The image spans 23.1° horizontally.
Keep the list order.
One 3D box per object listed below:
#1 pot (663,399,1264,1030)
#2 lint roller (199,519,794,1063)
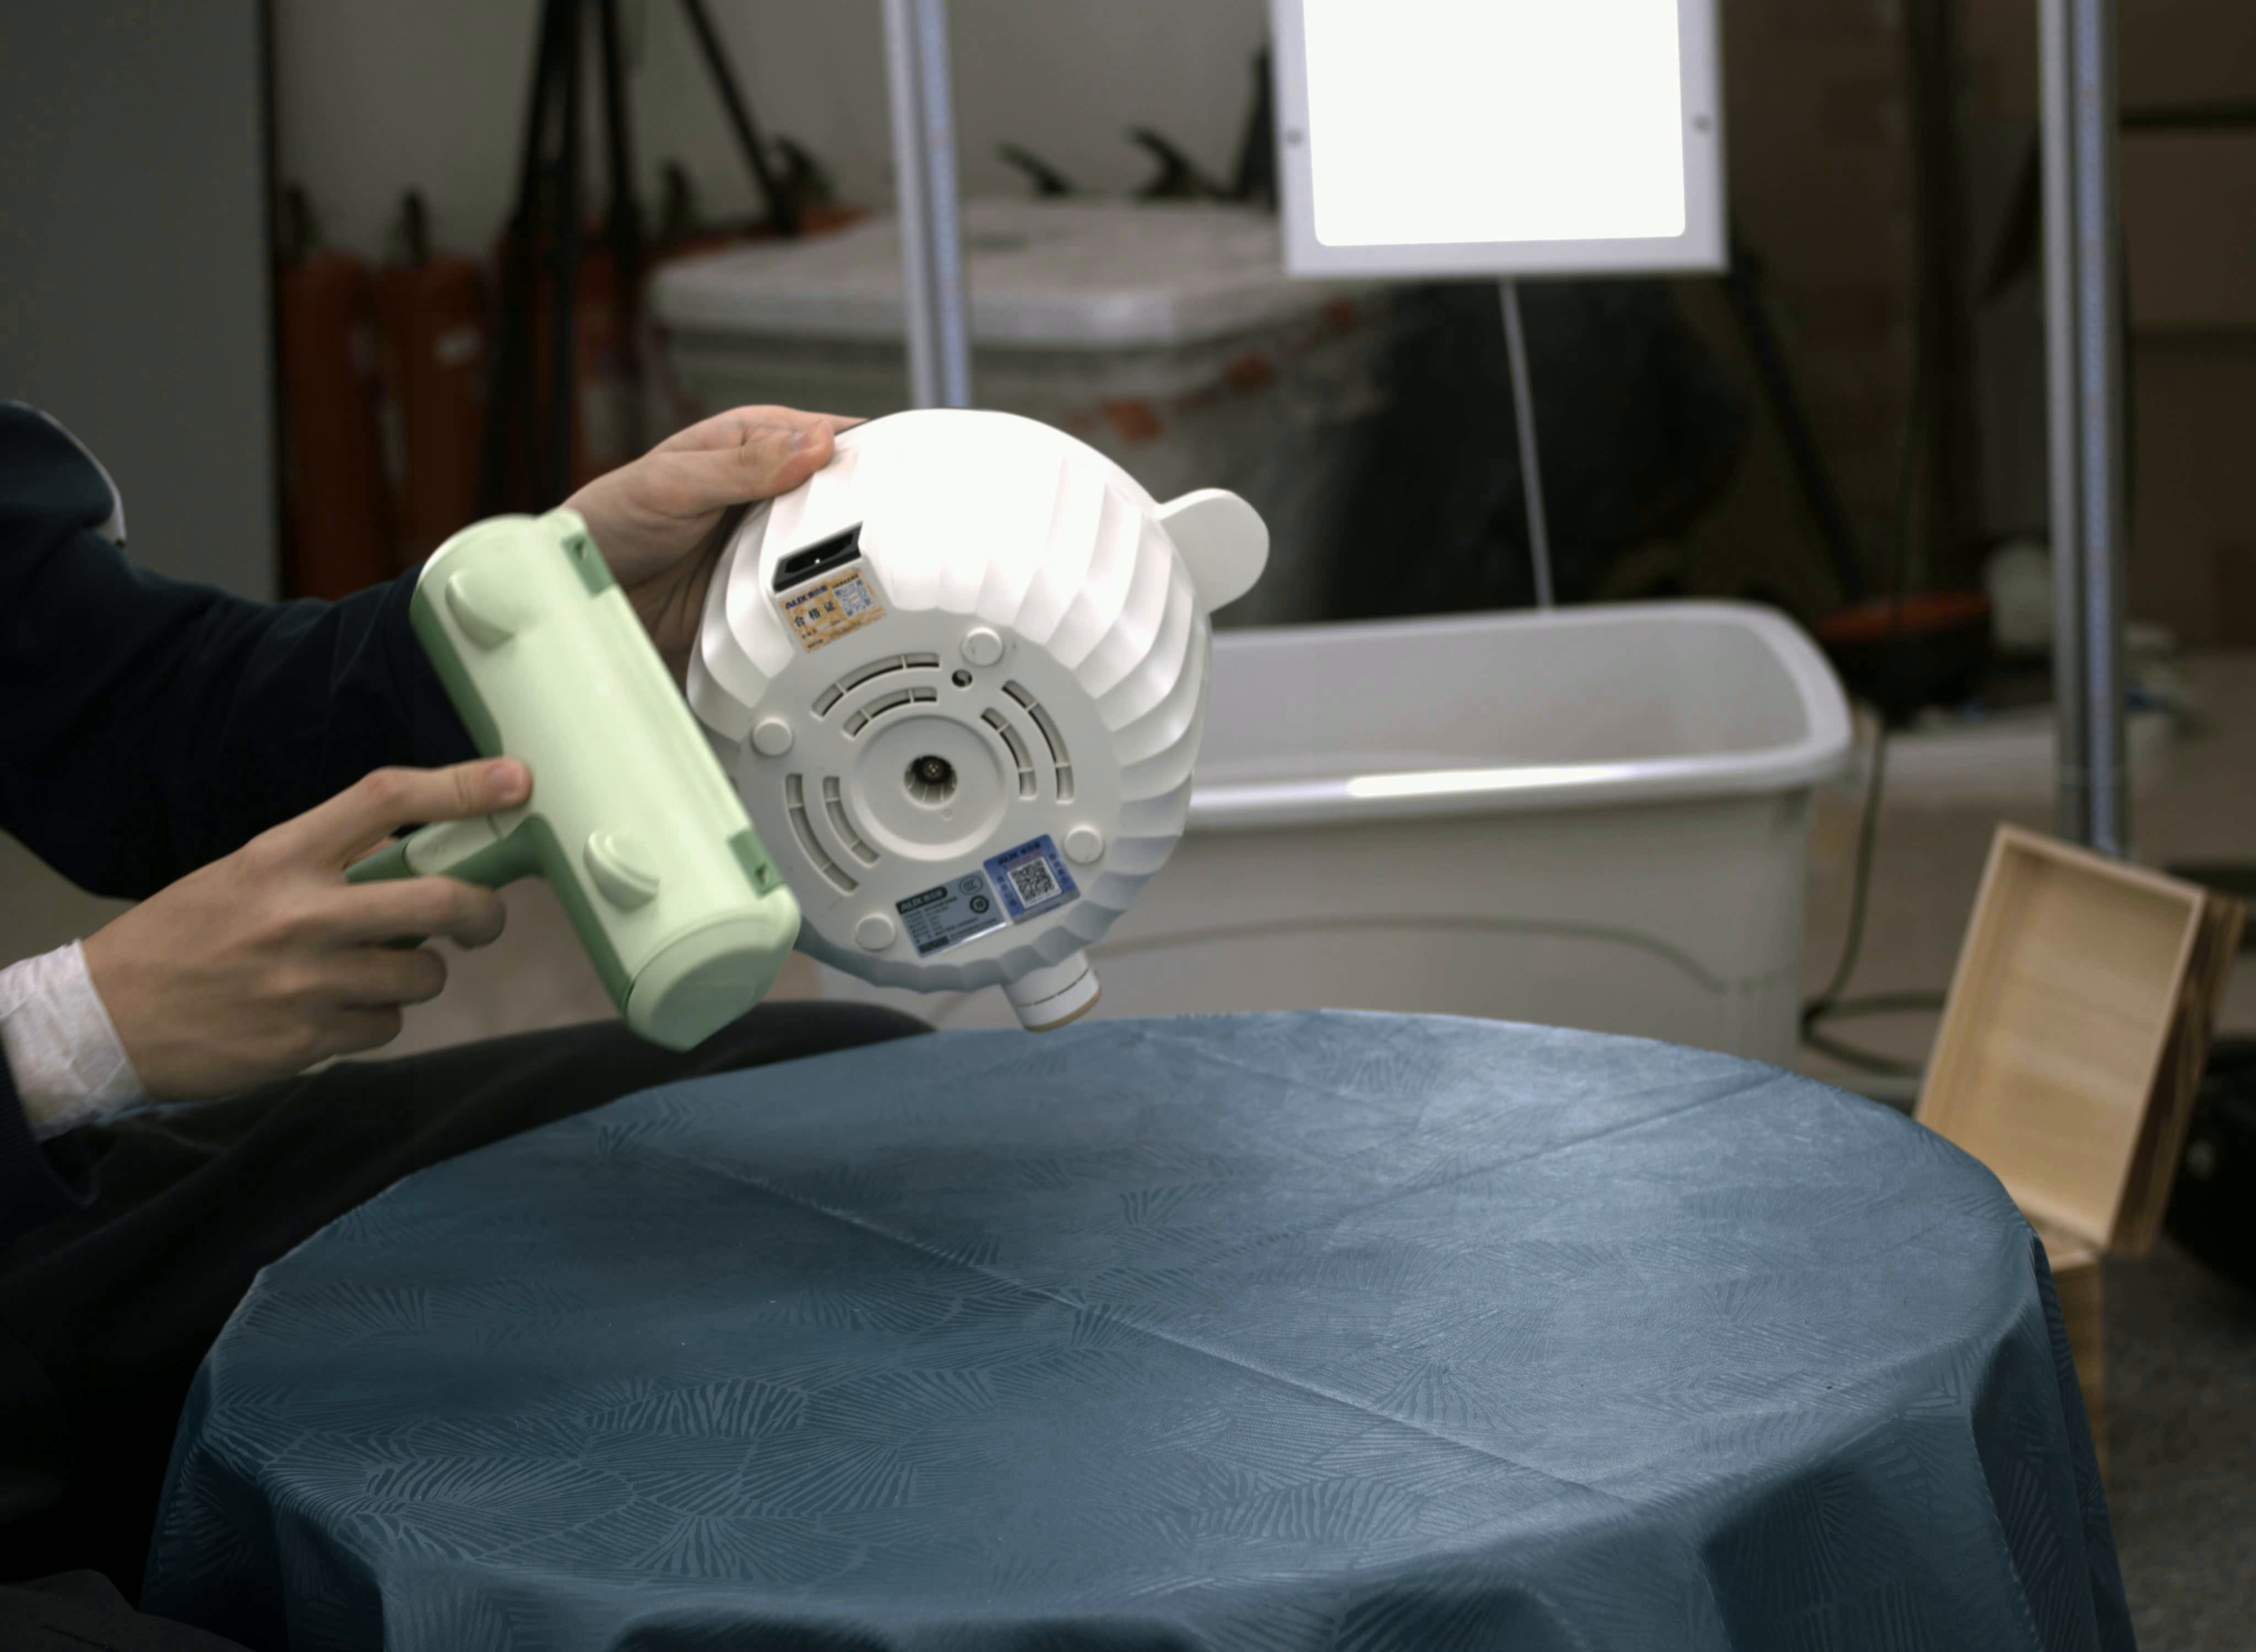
[{"bbox_3d":[-0.064,-0.034,1.888,0.243,0.190,0.142,-22,22,14],"label":"pot"},{"bbox_3d":[-0.226,0.008,1.791,0.182,0.082,0.200,-27,58,-5],"label":"lint roller"}]
